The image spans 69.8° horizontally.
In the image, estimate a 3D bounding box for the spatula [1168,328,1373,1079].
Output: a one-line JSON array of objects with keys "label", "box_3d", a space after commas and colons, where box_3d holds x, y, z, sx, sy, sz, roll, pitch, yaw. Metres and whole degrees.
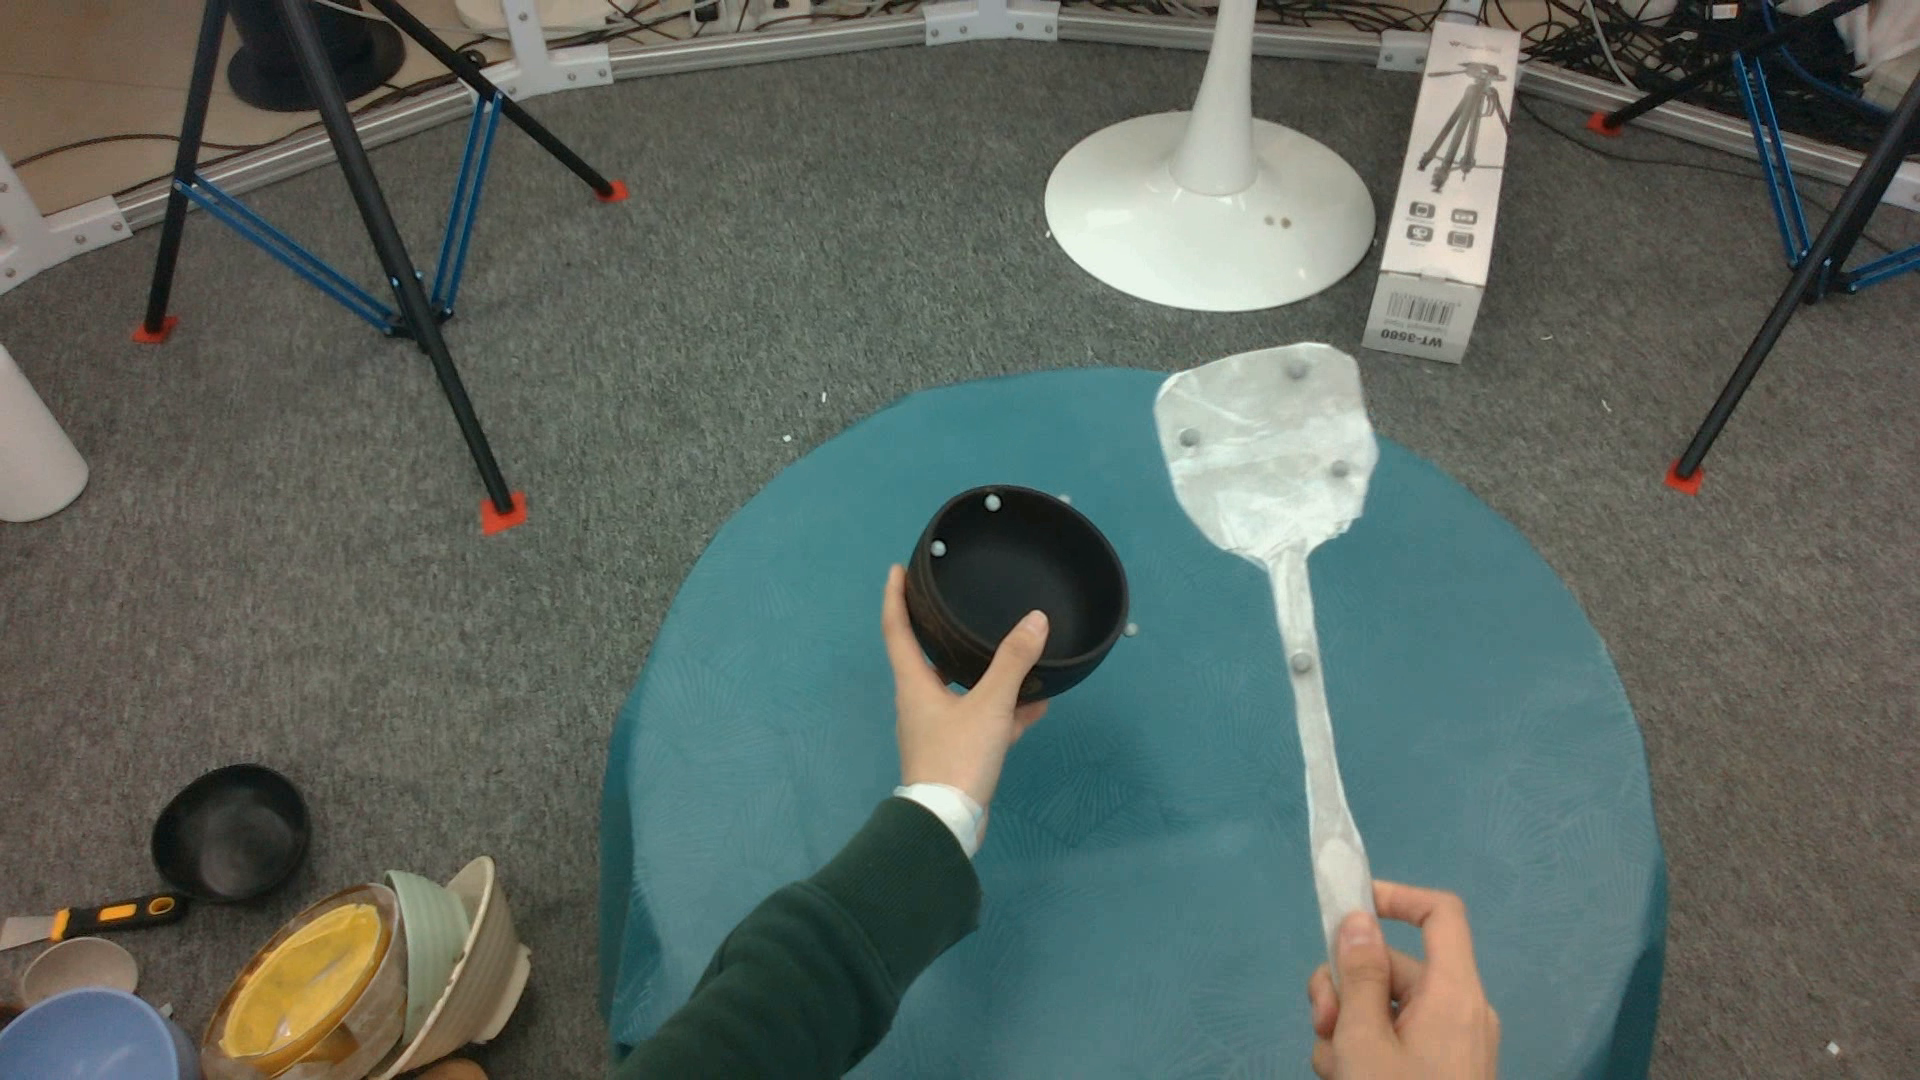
[{"label": "spatula", "box_3d": [0.150, 0.066, 0.607, 0.098, 0.044, 0.366, -5, 60, 12]}]

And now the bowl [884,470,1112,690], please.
[{"label": "bowl", "box_3d": [0.015, 0.028, 0.736, 0.118, 0.069, 0.118, 10, 53, -14]}]
